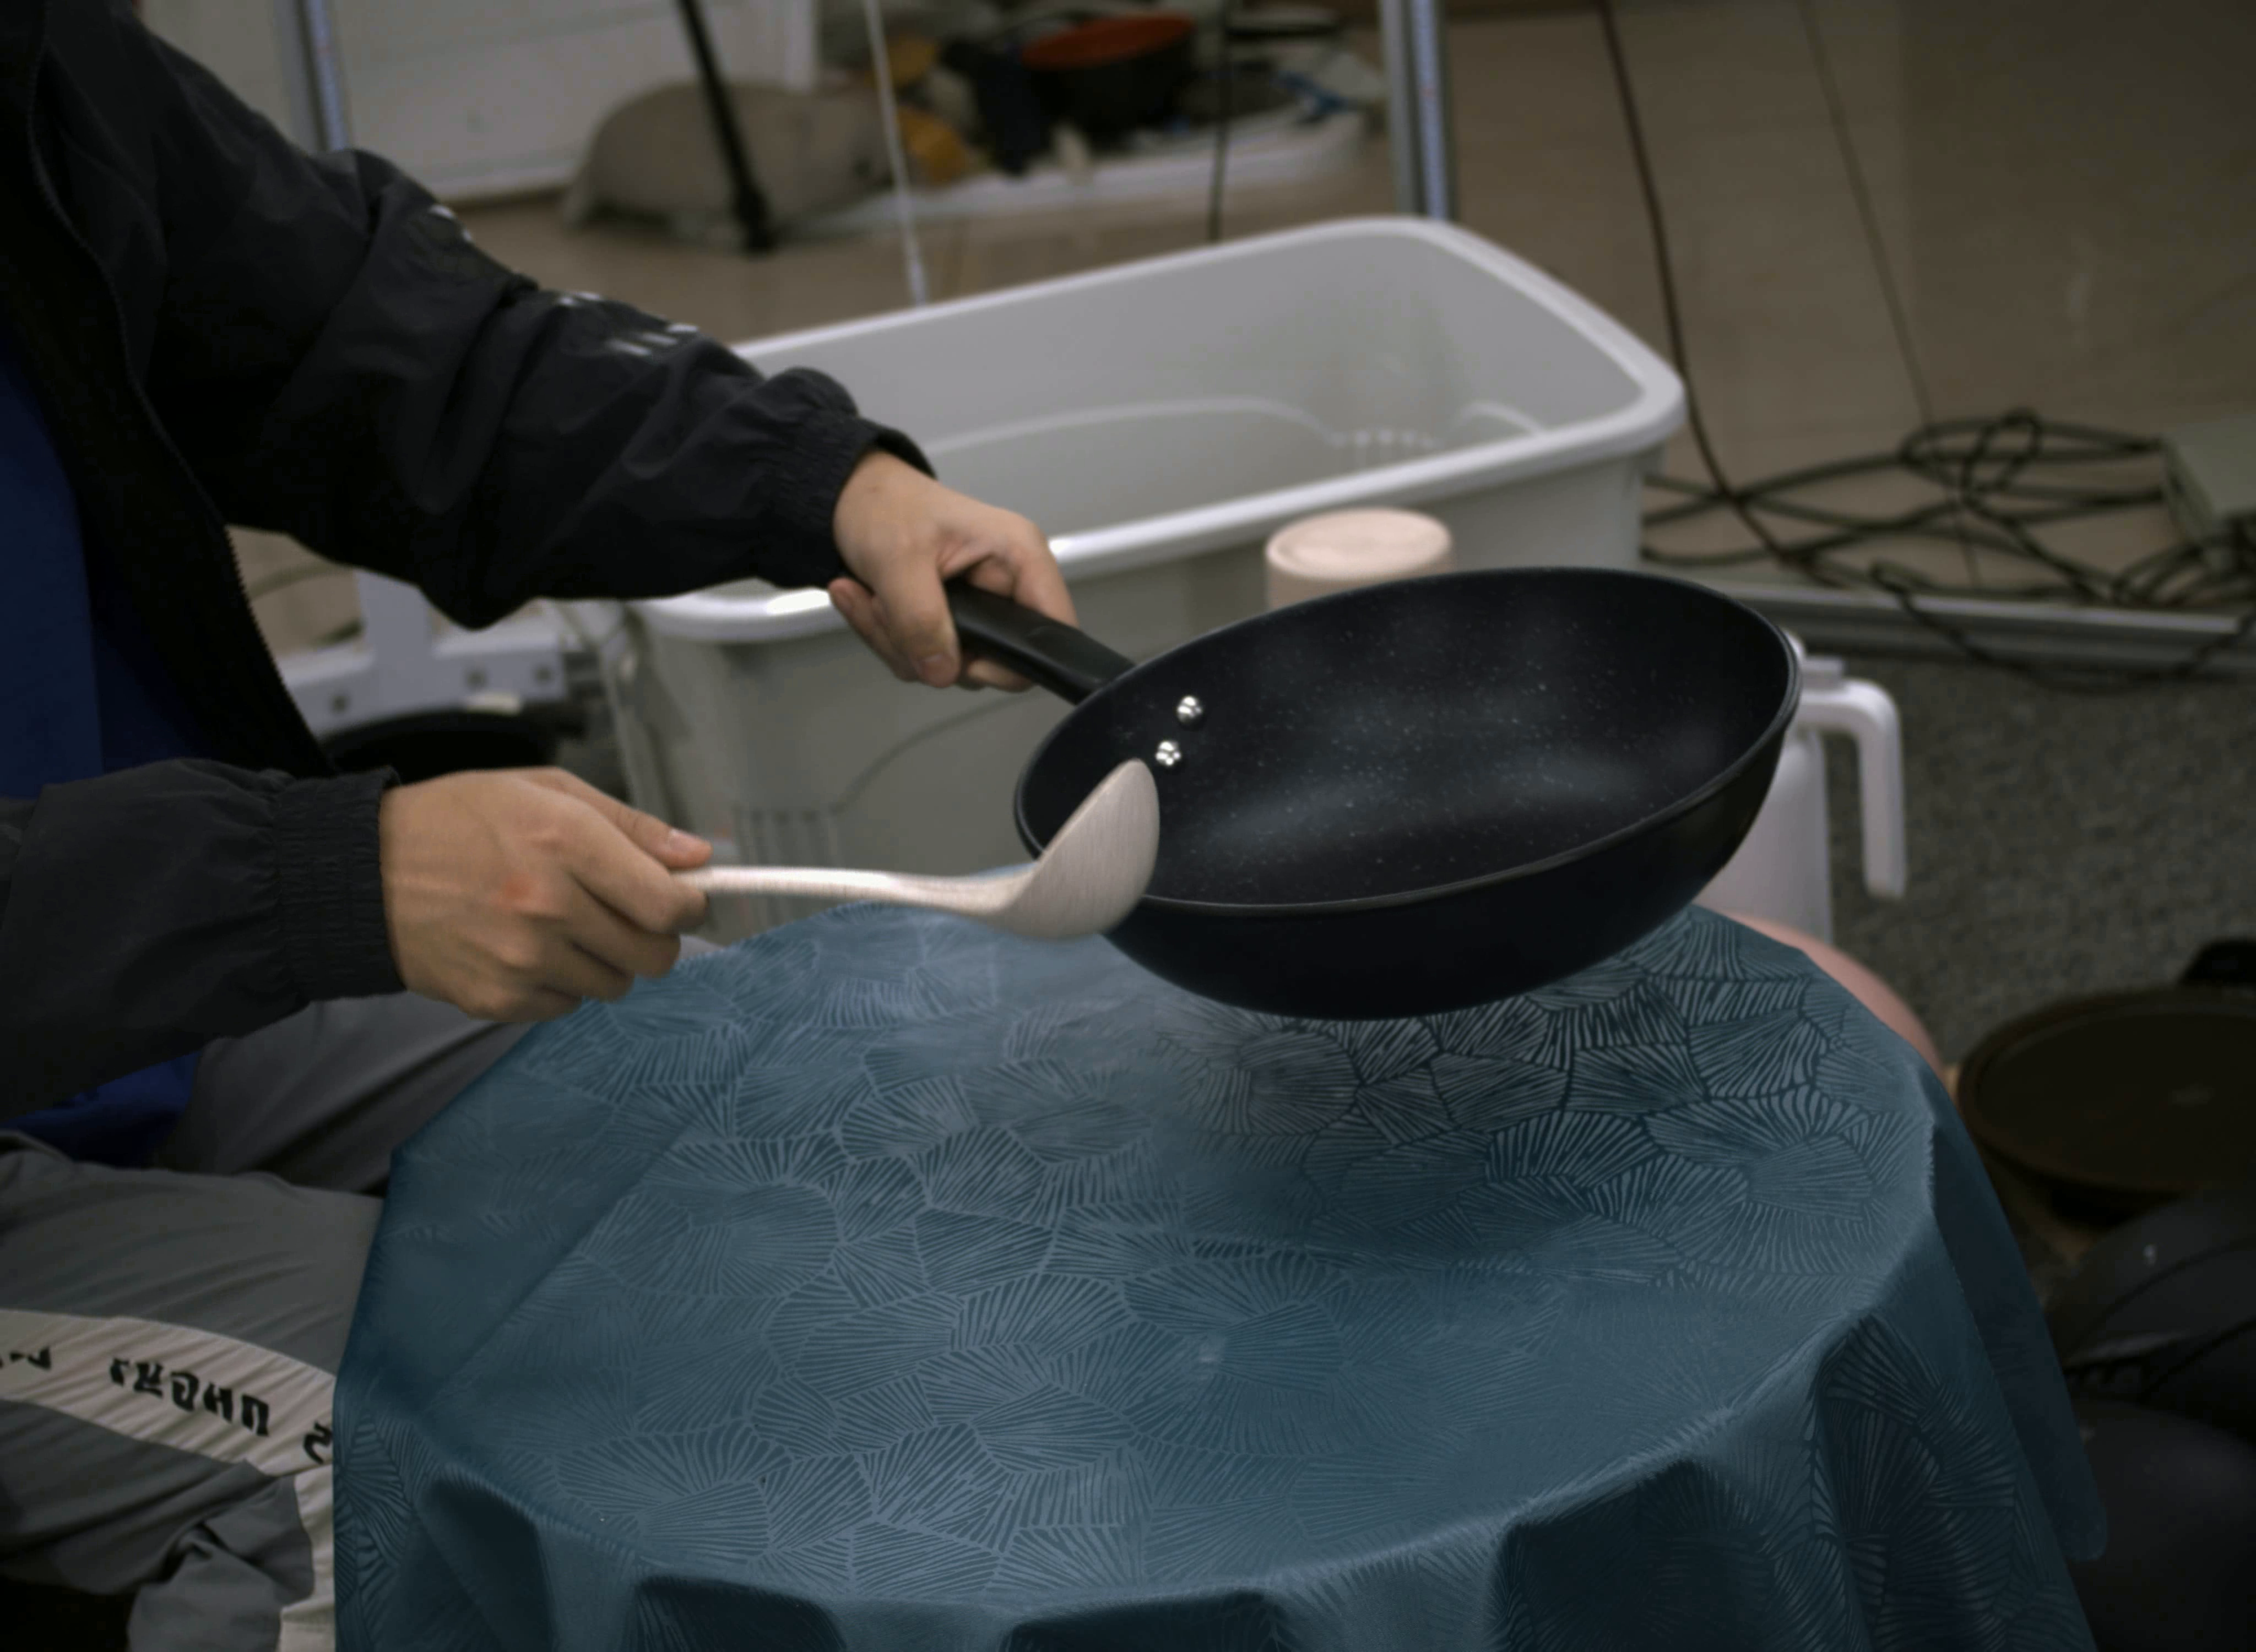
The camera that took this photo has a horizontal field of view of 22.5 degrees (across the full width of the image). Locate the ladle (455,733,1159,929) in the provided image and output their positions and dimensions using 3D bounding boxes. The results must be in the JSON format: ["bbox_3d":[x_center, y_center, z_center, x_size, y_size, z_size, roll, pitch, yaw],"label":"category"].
[{"bbox_3d":[-0.121,-0.001,2.032,0.274,0.070,0.088,1,19,20],"label":"ladle"}]

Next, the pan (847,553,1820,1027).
[{"bbox_3d":[0.059,-0.023,2.252,0.307,0.113,0.474,-30,29,-36],"label":"pan"}]
